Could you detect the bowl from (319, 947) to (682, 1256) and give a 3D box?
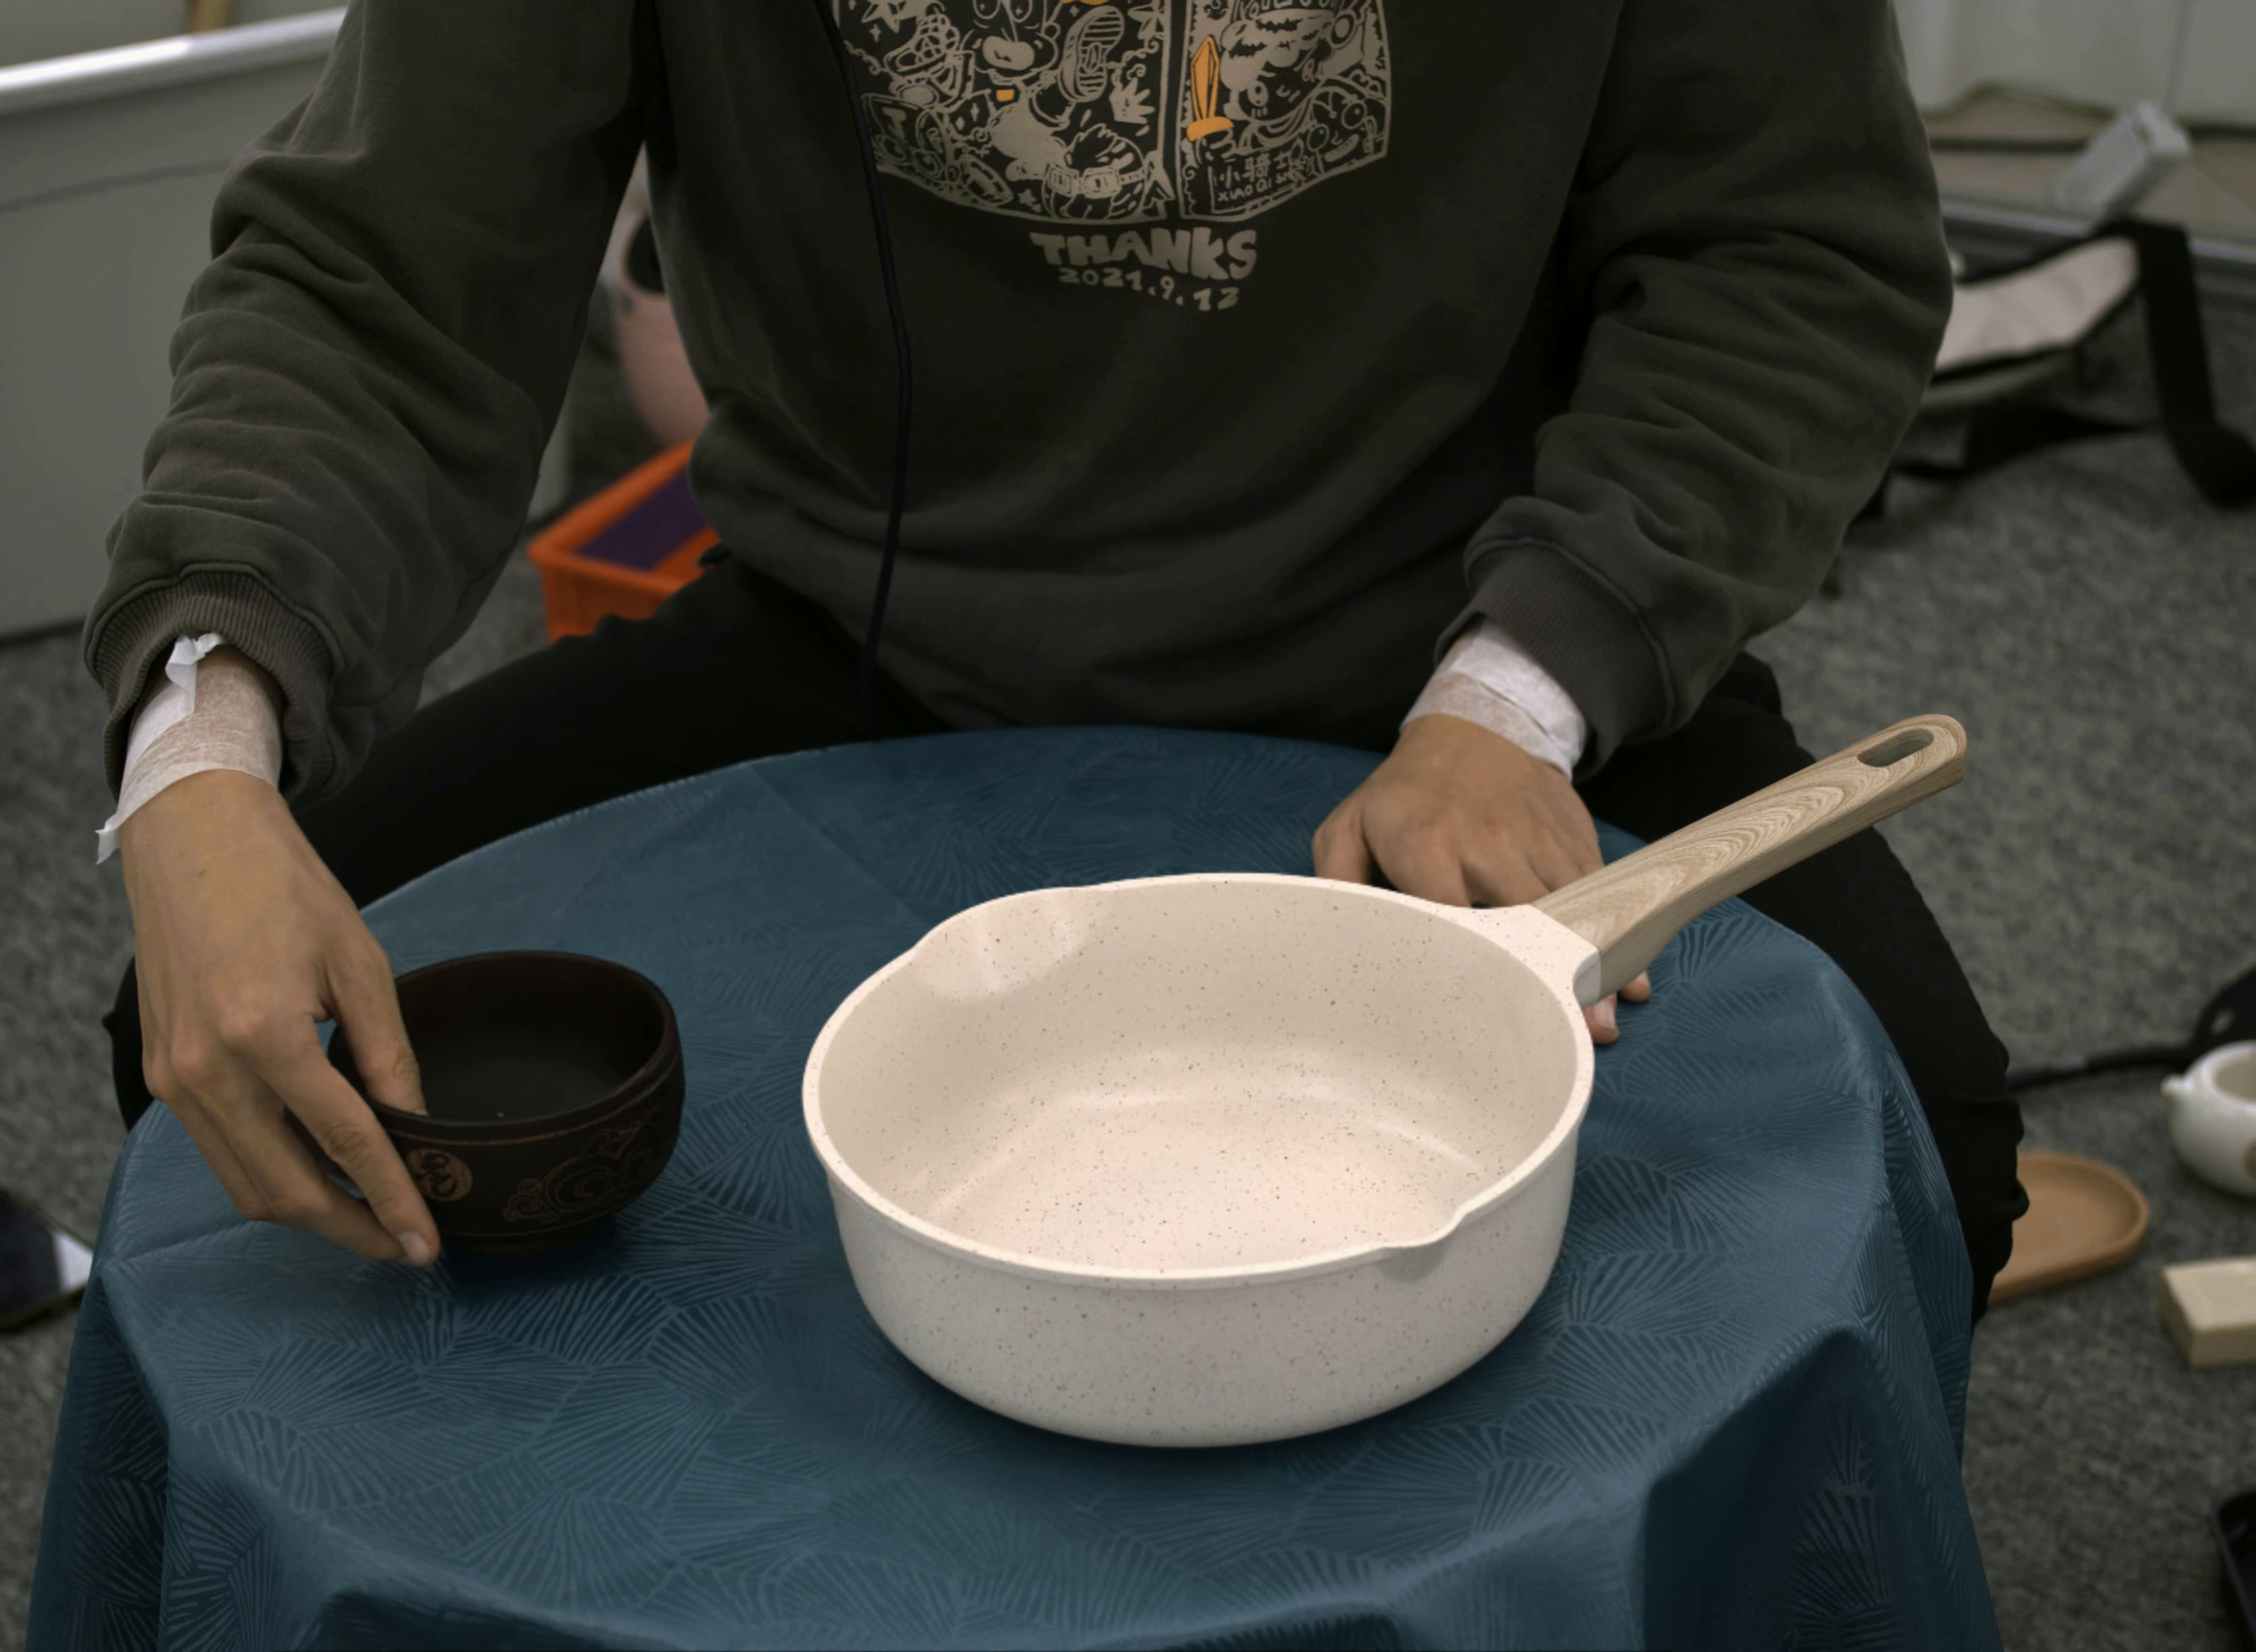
[{"bbox_3d":[-0.204,0.098,1.850,0.117,0.069,0.120,-3,28,2],"label":"bowl"}]

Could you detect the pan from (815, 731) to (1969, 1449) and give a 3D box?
[{"bbox_3d":[0.104,0.078,1.829,0.438,0.101,0.264,-19,30,-28],"label":"pan"}]
